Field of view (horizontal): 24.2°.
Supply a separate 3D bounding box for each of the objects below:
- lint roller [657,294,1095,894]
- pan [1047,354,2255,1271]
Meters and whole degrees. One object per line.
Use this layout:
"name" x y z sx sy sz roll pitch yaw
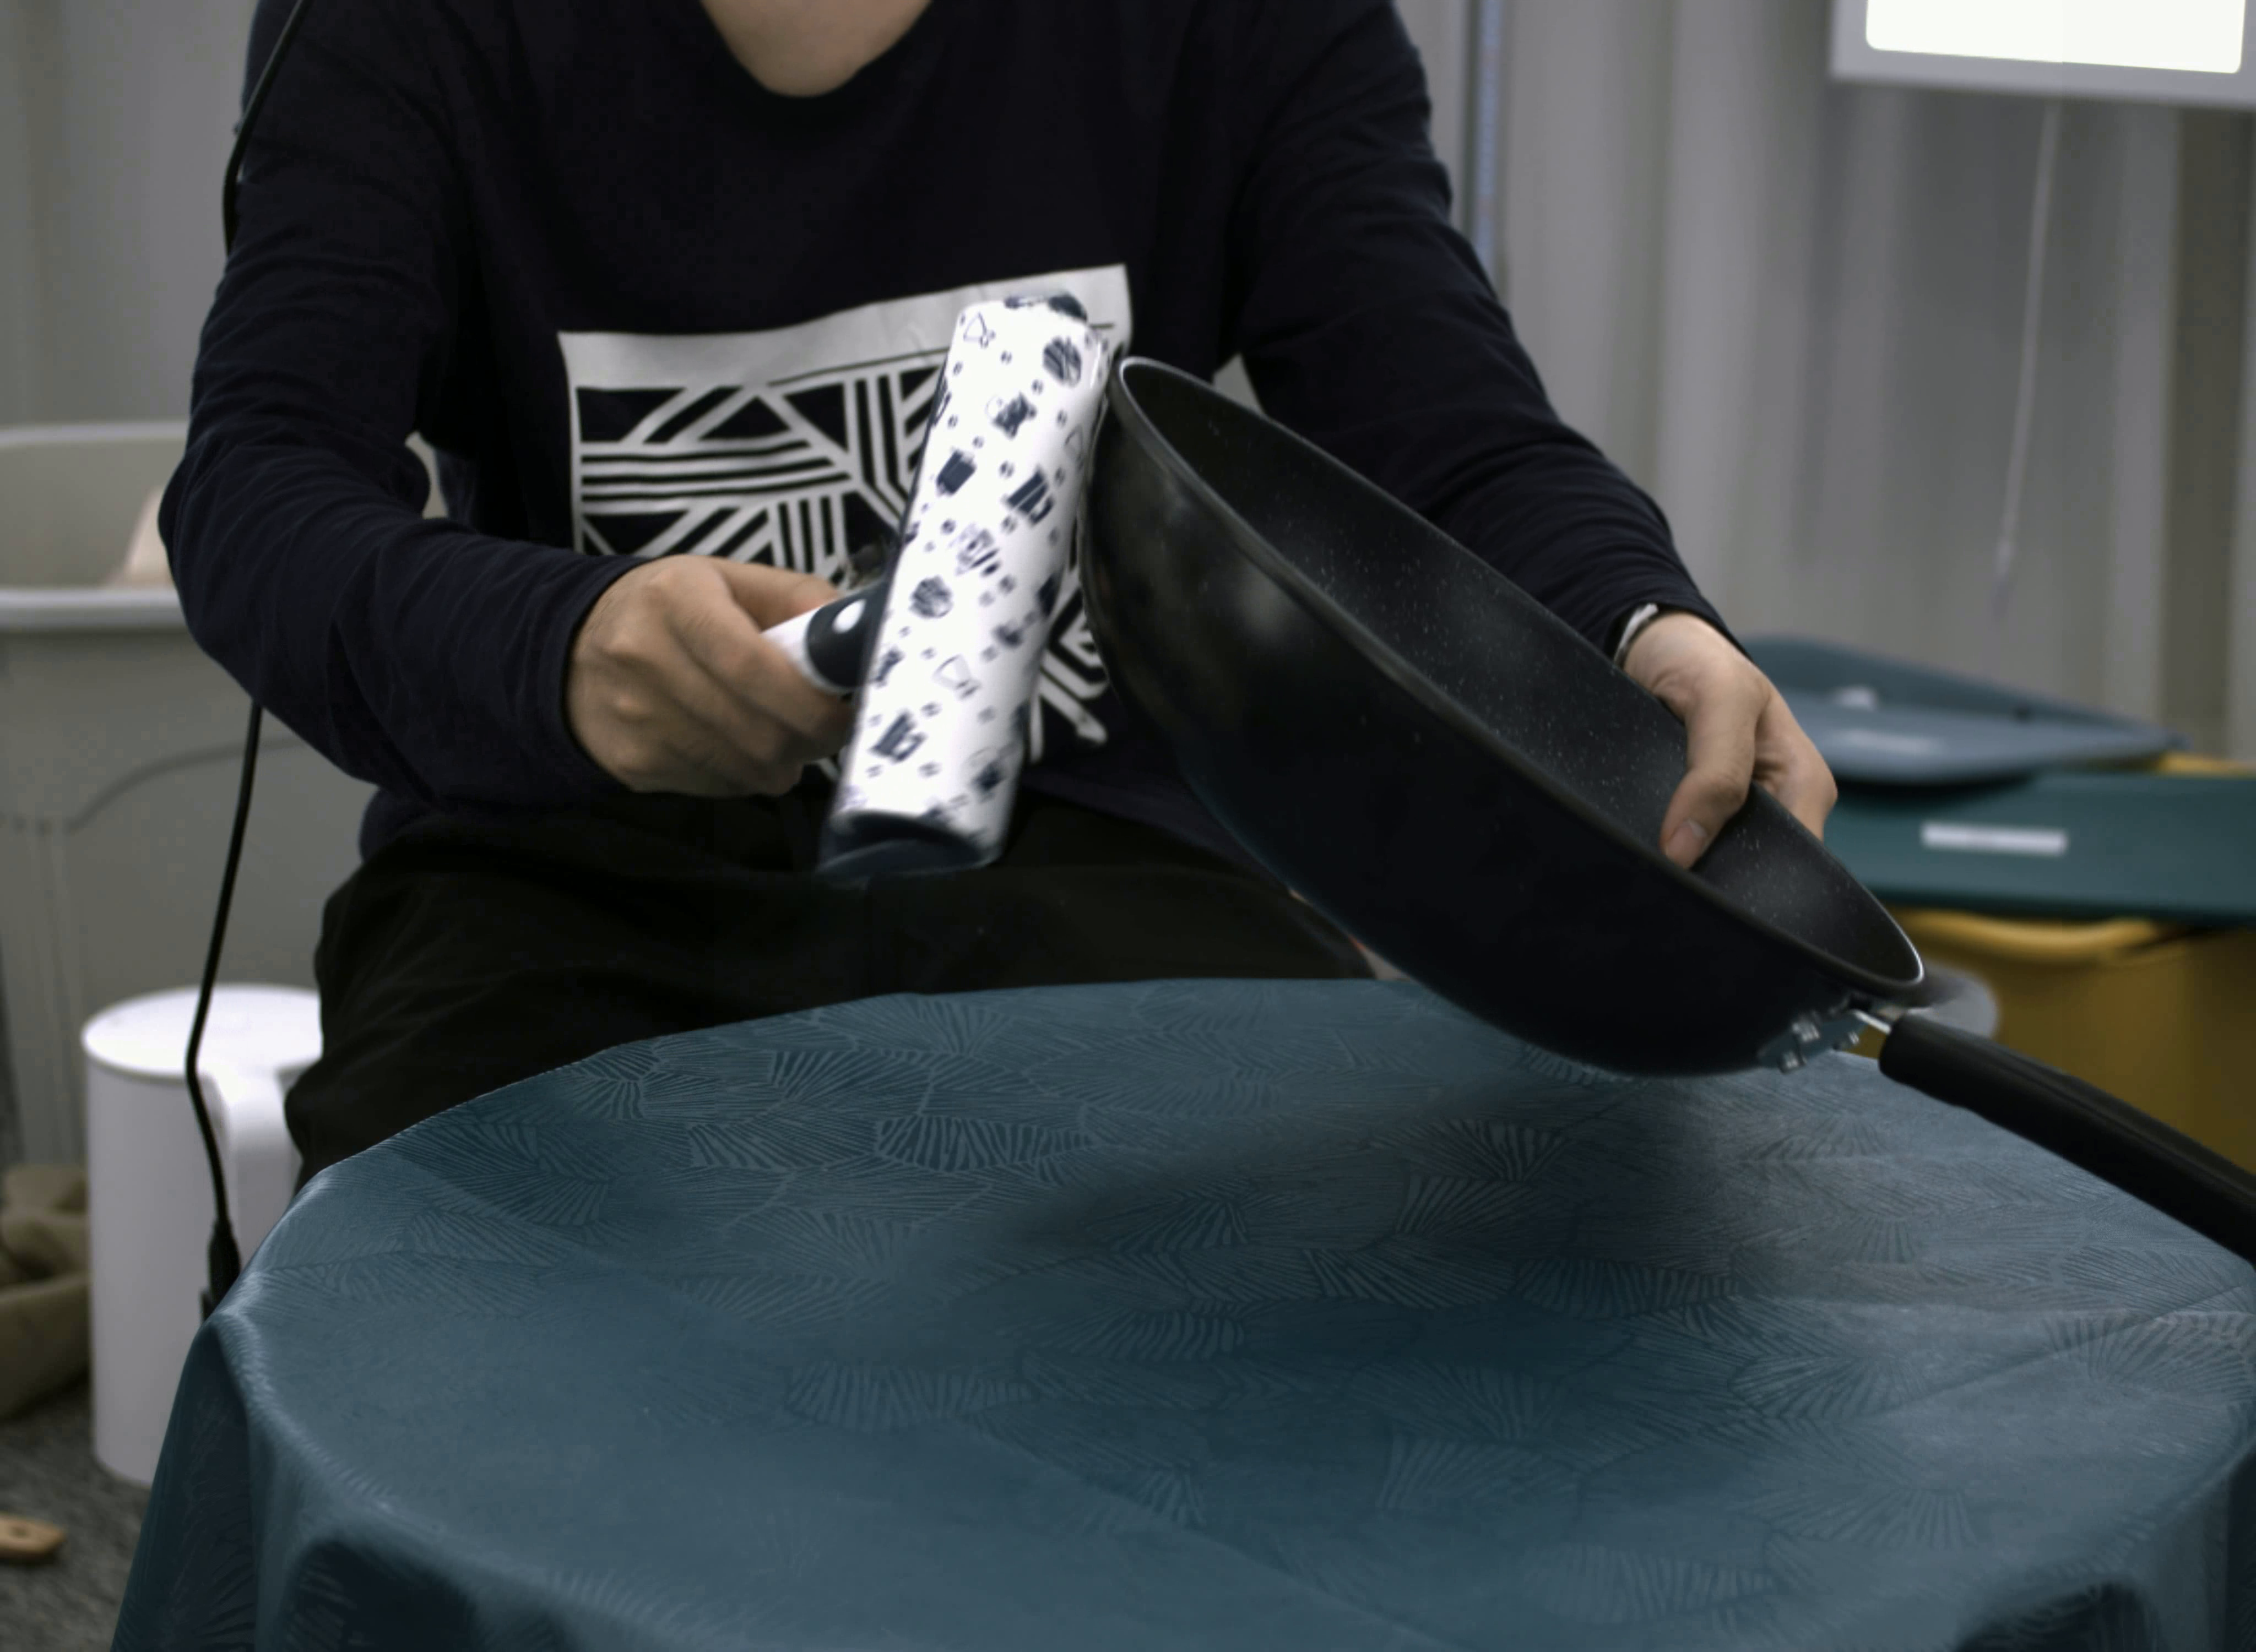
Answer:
"lint roller" -0.096 -0.051 1.607 0.051 0.176 0.245 21 -19 -24
"pan" 0.154 0.025 1.562 0.472 0.112 0.312 41 13 20
